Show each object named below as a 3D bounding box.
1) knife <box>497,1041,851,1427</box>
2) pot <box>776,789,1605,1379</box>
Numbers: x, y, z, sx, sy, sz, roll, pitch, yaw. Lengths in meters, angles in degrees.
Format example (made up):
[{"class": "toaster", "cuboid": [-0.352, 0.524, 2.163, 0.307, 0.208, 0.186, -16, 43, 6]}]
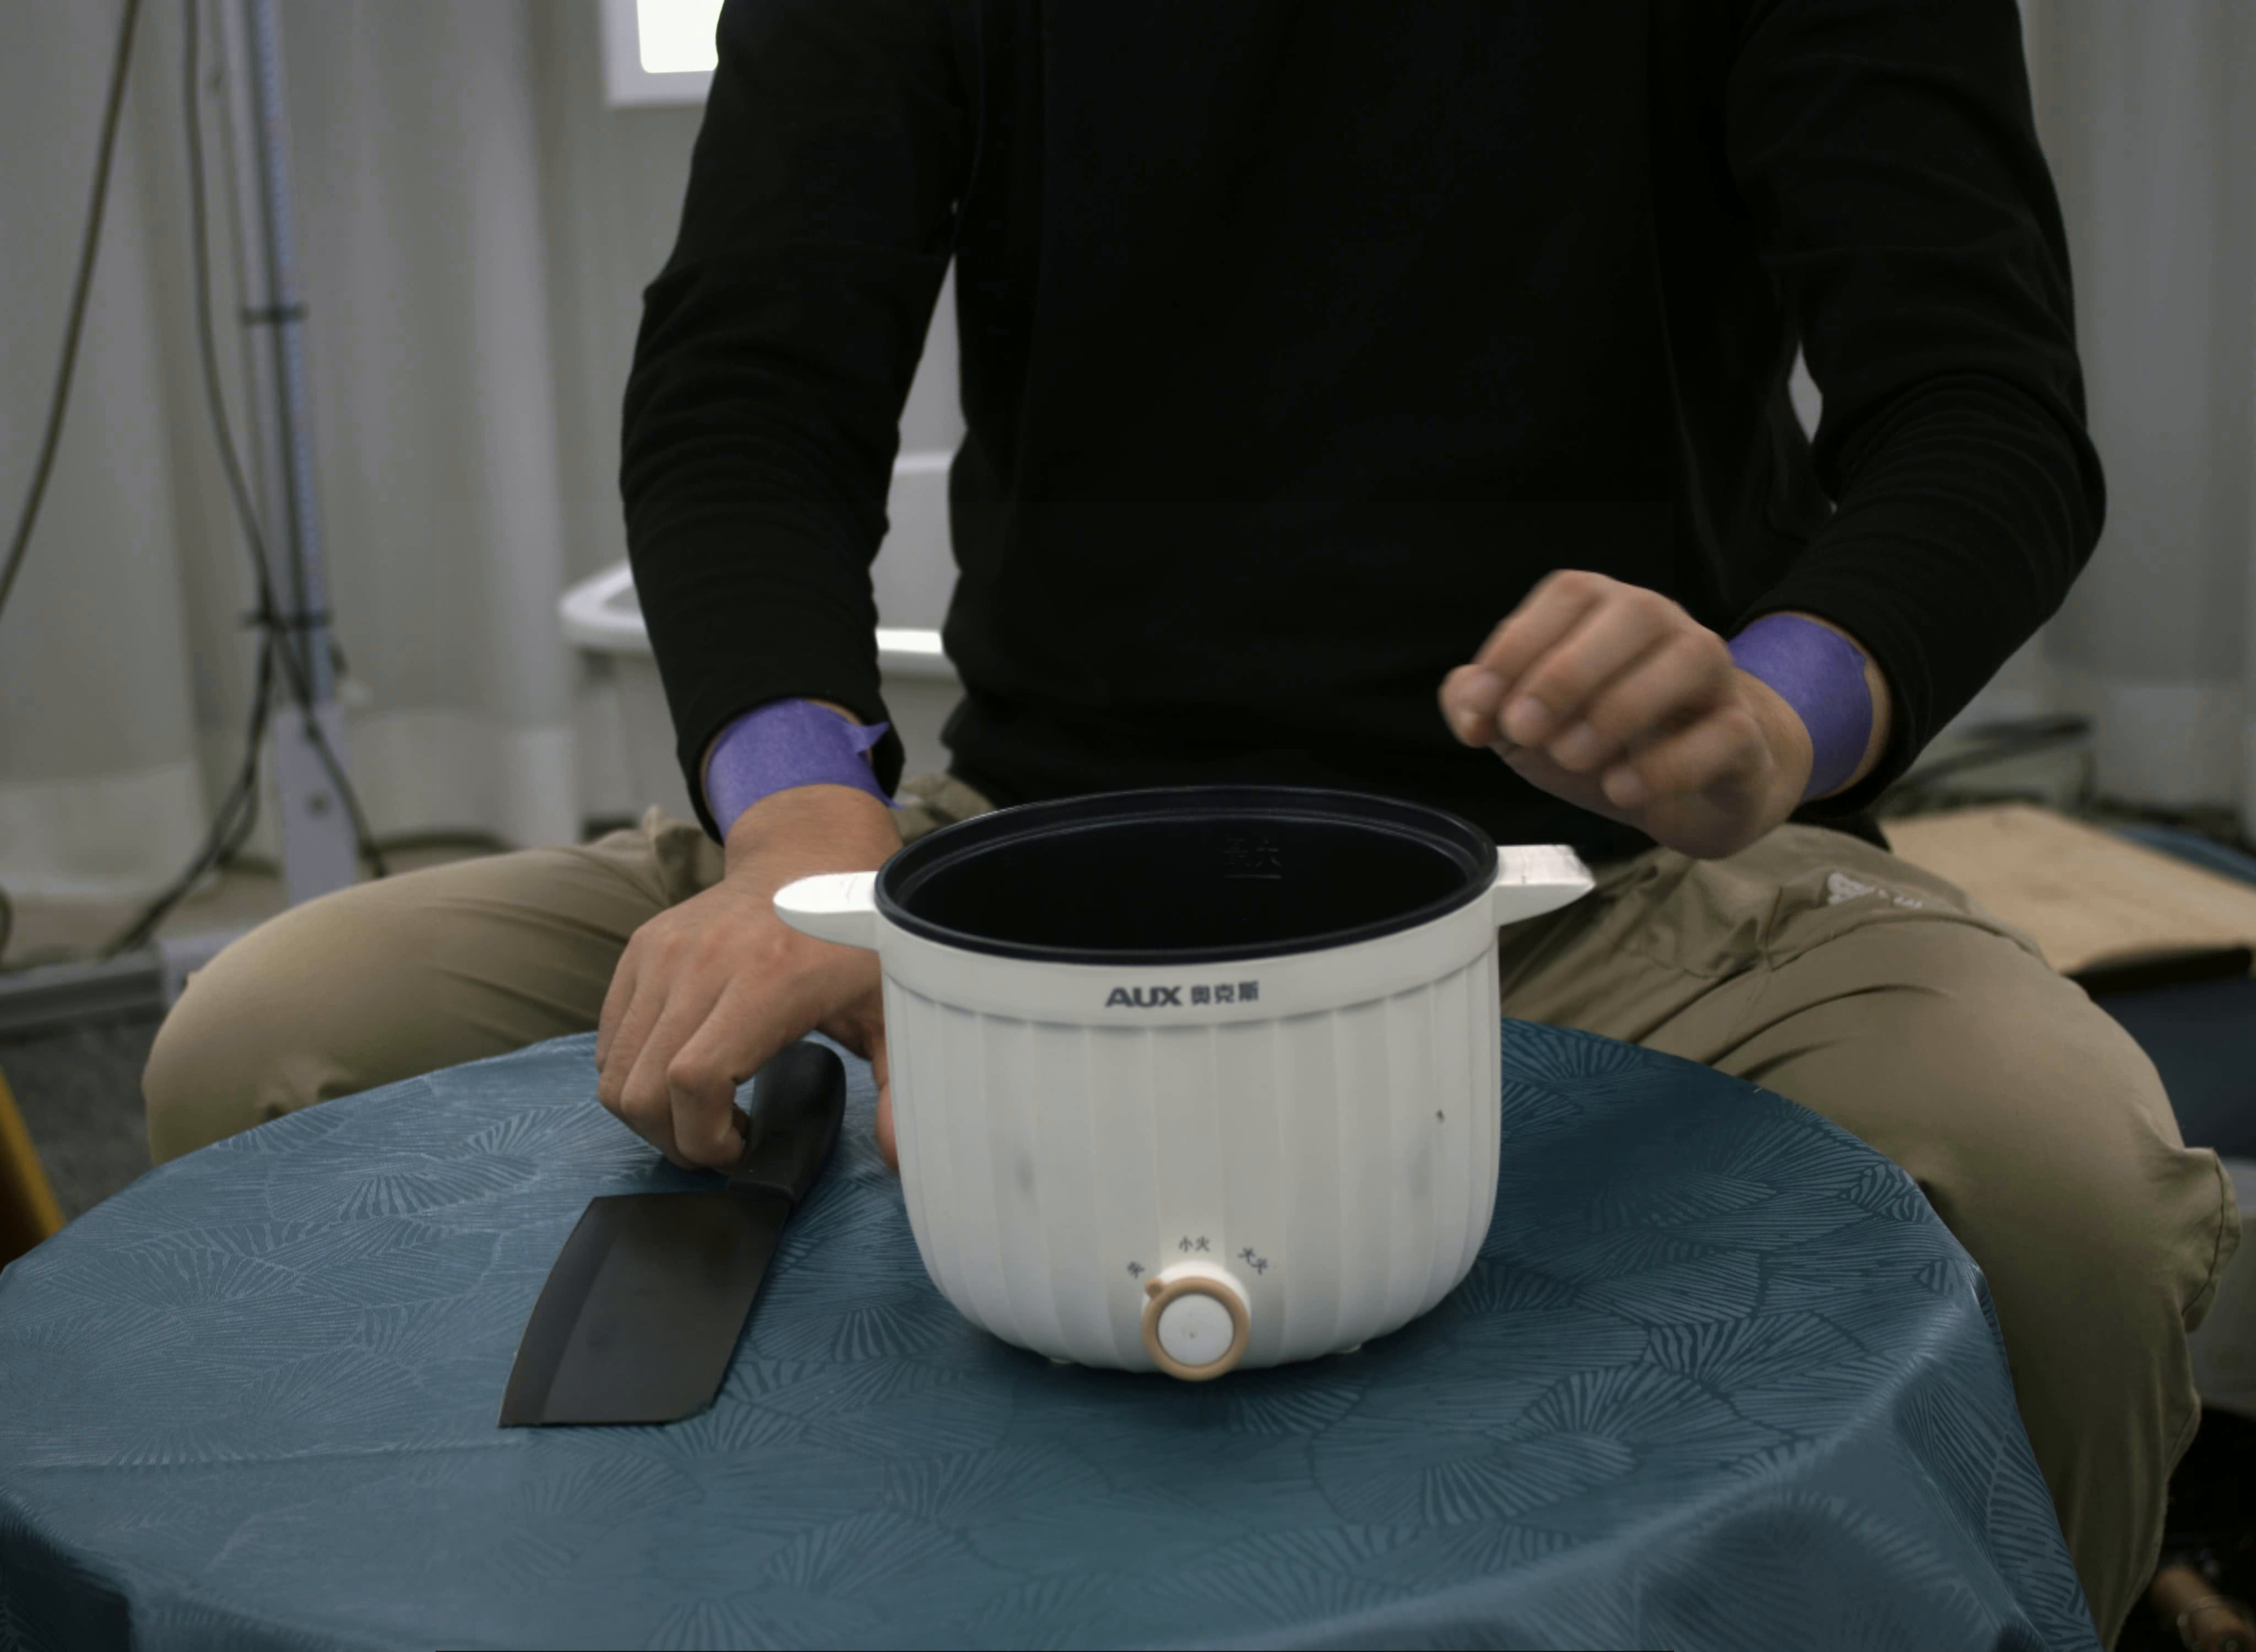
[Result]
[{"class": "knife", "cuboid": [-0.133, 0.124, 1.678, 0.081, 0.021, 0.304, 0, 17, 10]}, {"class": "pot", "cuboid": [0.021, 0.077, 1.587, 0.239, 0.142, 0.191, -3, 11, 2]}]
